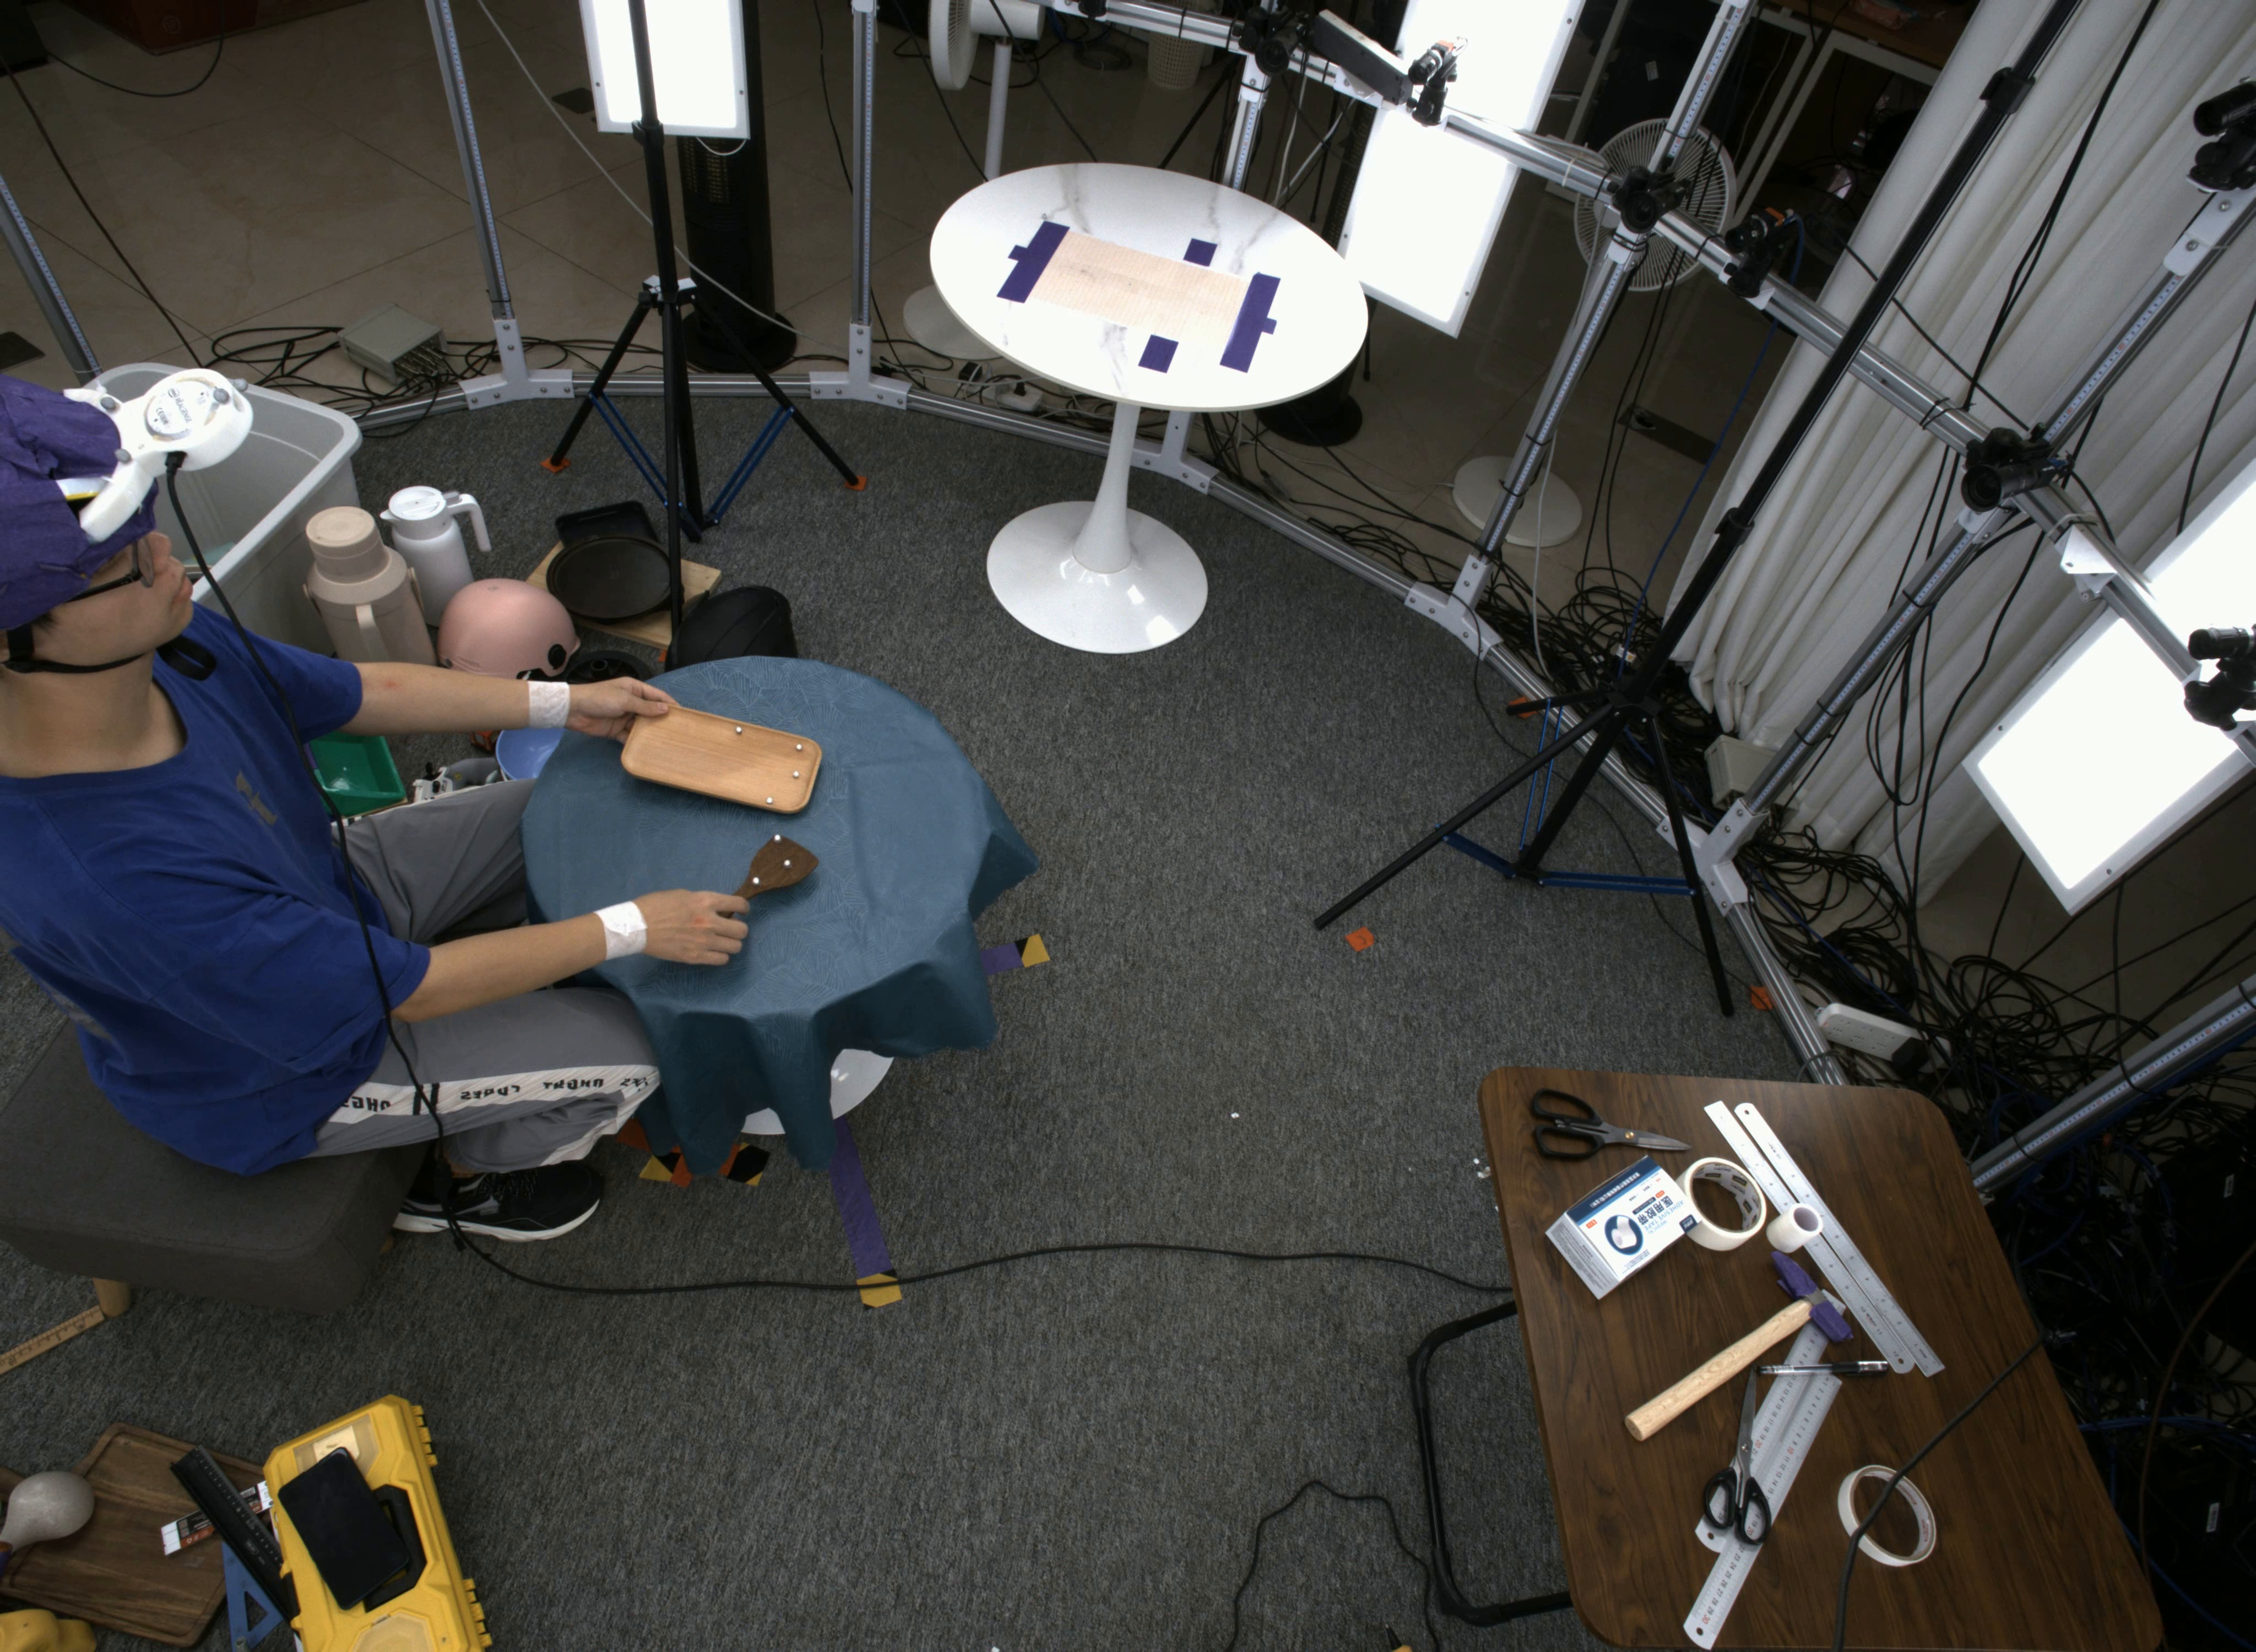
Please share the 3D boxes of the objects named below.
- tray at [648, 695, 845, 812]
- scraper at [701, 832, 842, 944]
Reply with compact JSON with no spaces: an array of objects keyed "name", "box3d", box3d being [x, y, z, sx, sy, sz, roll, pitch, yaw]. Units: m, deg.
[{"name":"tray","box3d":[-0.516,-0.099,1.750,0.251,0.023,0.128,16,53,-10]},{"name":"scraper","box3d":[-0.452,0.079,1.621,0.074,0.011,0.211,34,47,12]}]
